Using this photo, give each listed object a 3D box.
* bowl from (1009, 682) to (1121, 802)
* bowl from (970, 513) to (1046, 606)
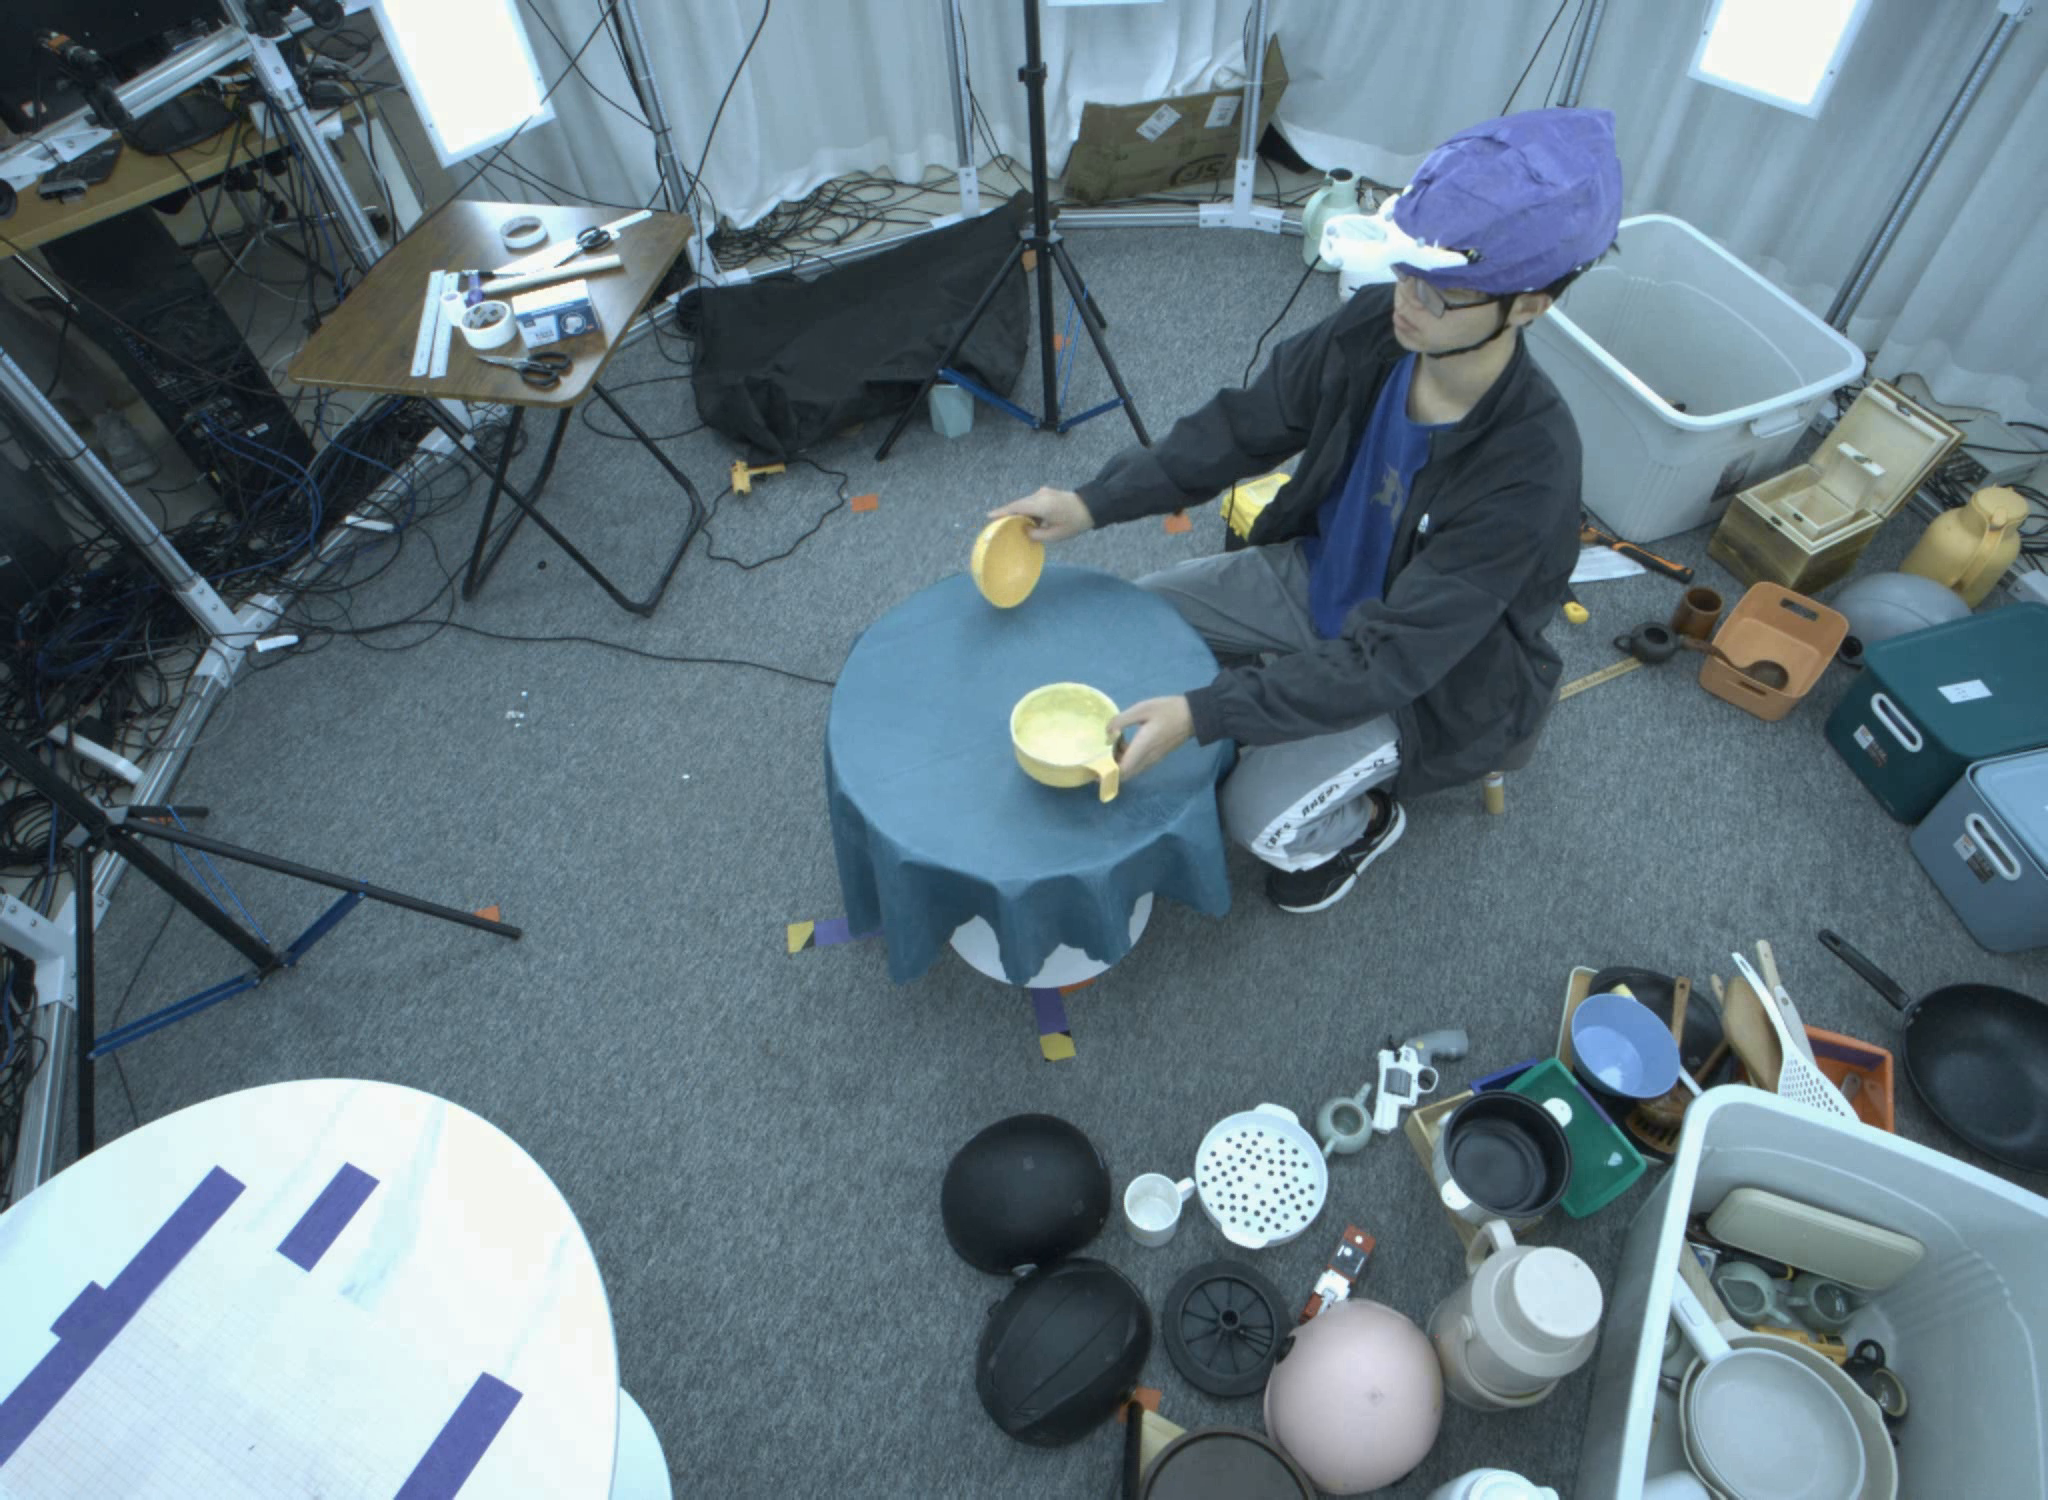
[{"bbox_3d":[0.064,-0.006,1.686,0.154,0.075,0.175,-33,56,-25],"label":"bowl"},{"bbox_3d":[-0.038,-0.299,1.891,0.059,0.148,0.146,23,58,39],"label":"bowl"}]
